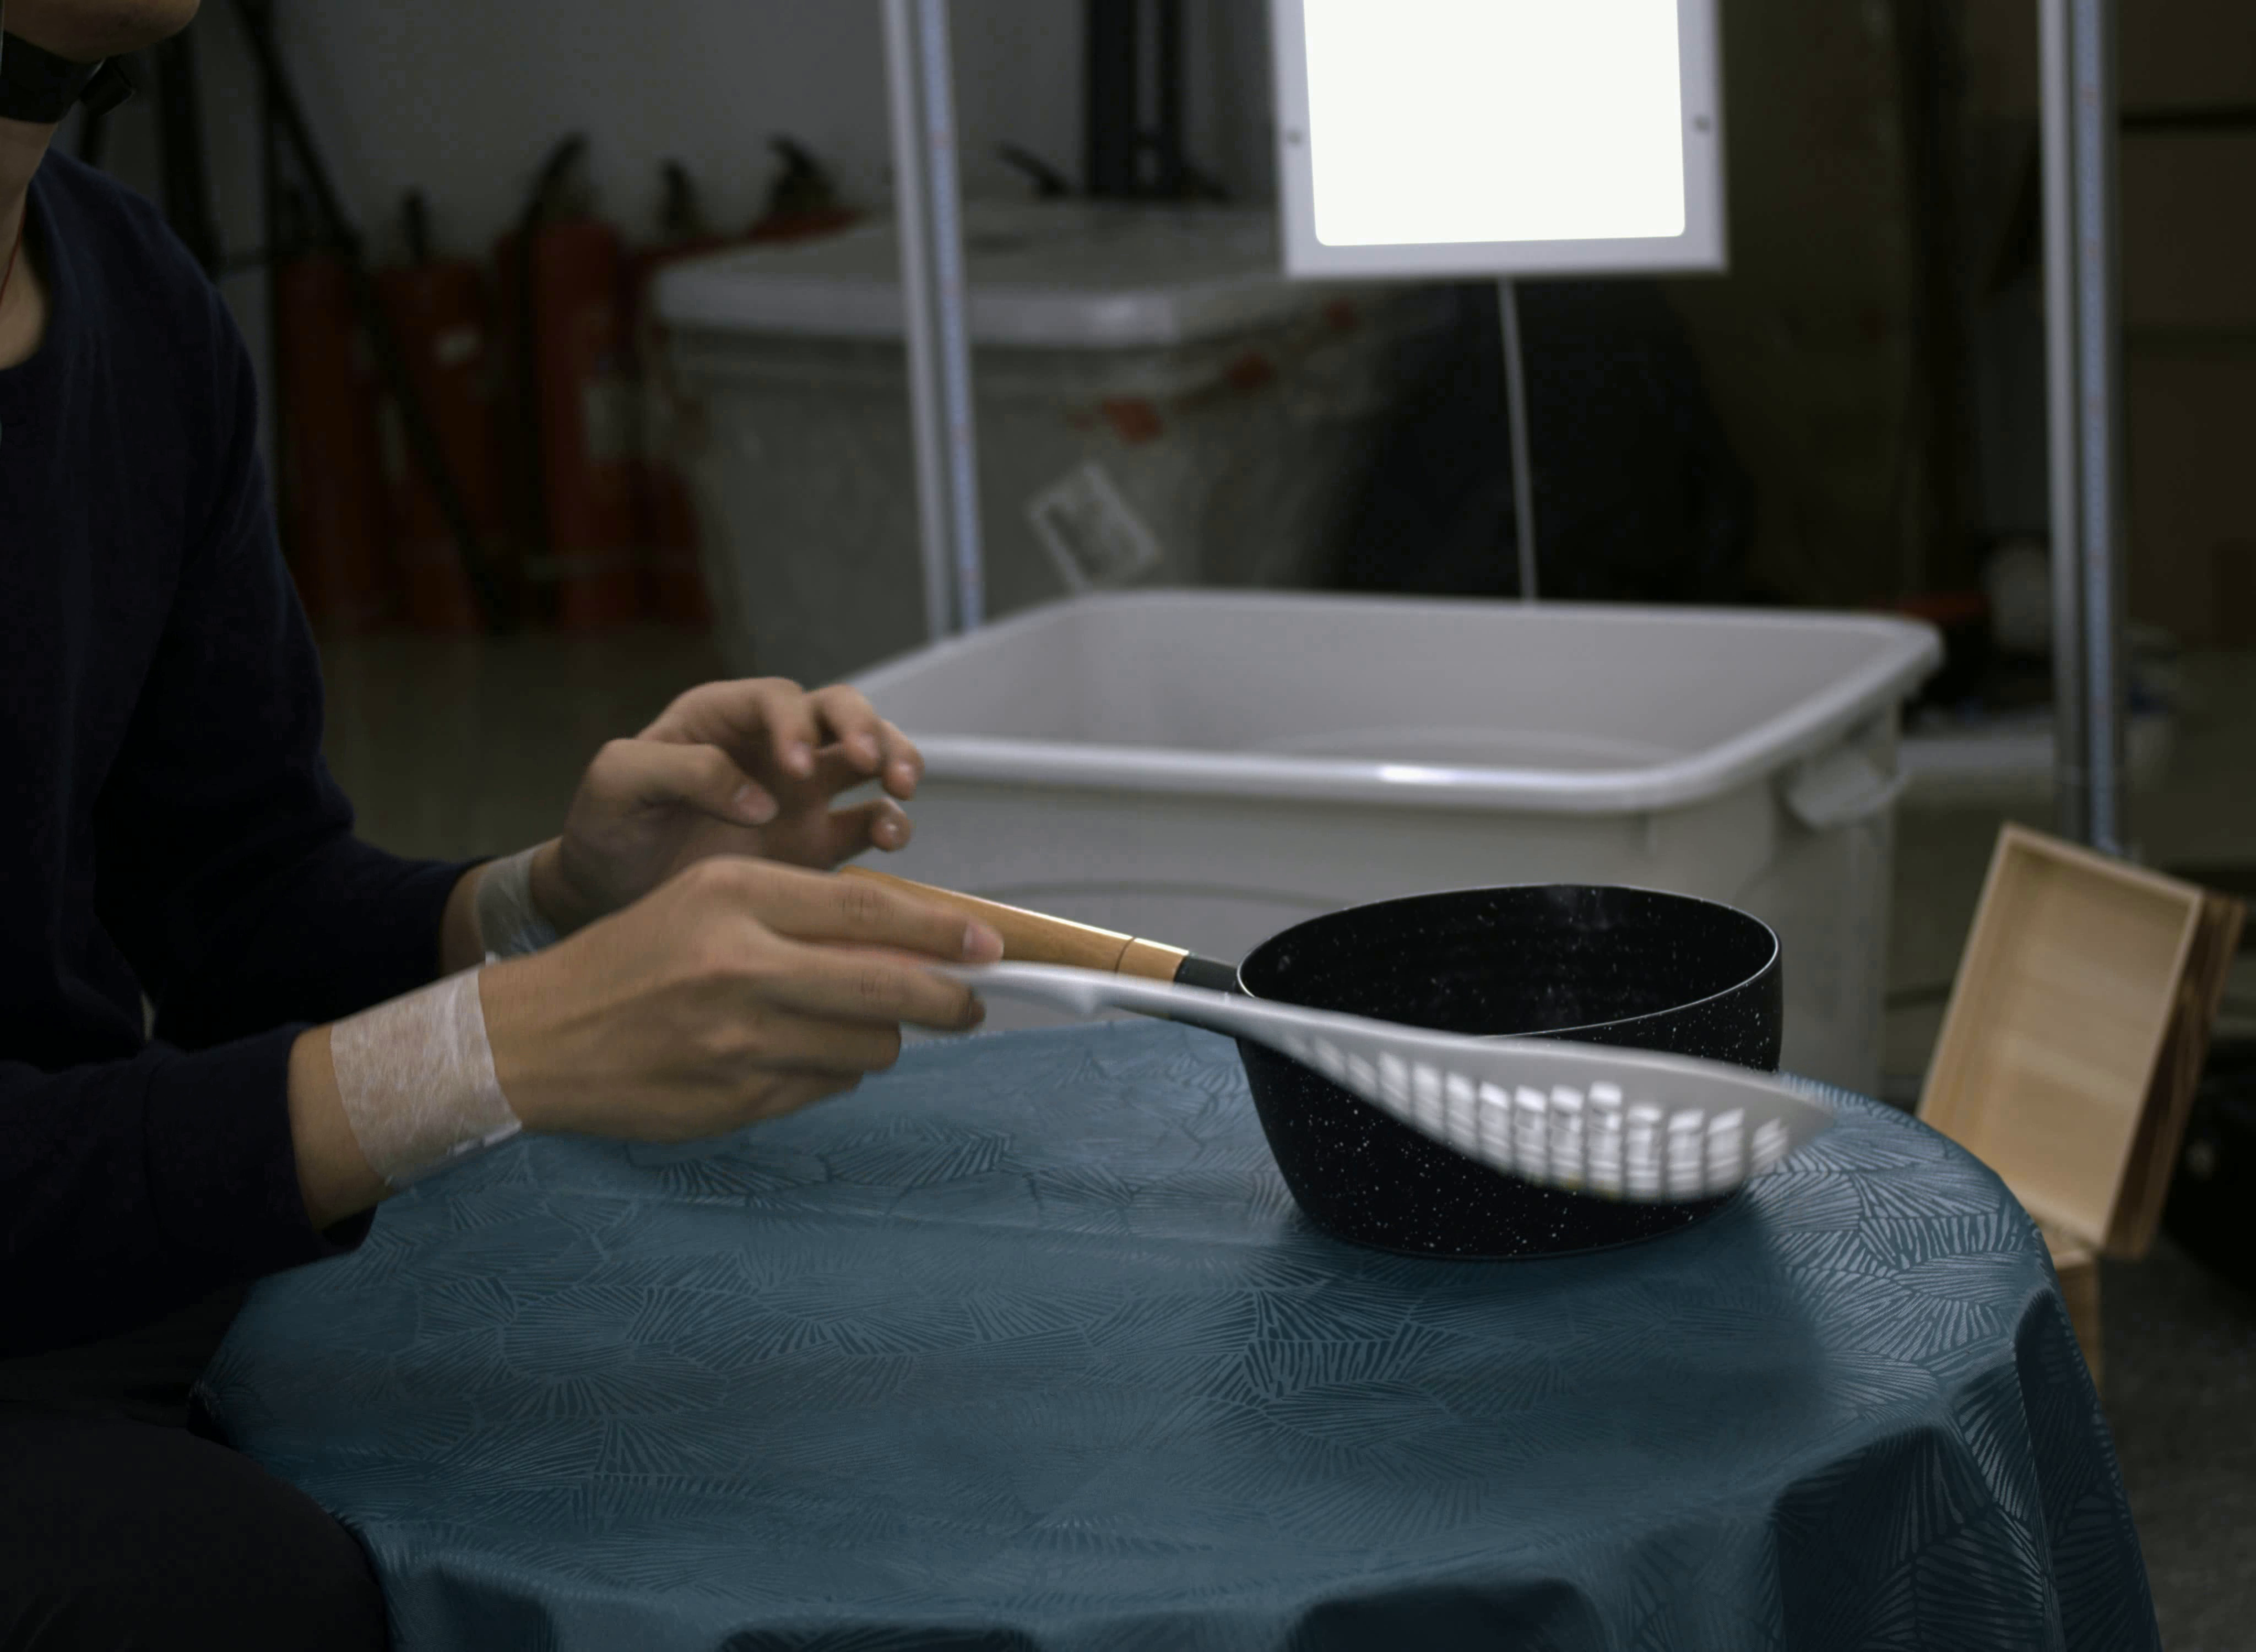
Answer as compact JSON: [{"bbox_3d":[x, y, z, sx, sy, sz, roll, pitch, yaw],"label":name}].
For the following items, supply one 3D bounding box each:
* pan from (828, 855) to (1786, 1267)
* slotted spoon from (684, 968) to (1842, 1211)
[{"bbox_3d":[0.056,0.070,1.877,0.348,0.108,0.203,2,17,22],"label":"pan"},{"bbox_3d":[0.039,0.069,1.648,0.350,0.050,0.136,13,-4,11],"label":"slotted spoon"}]
